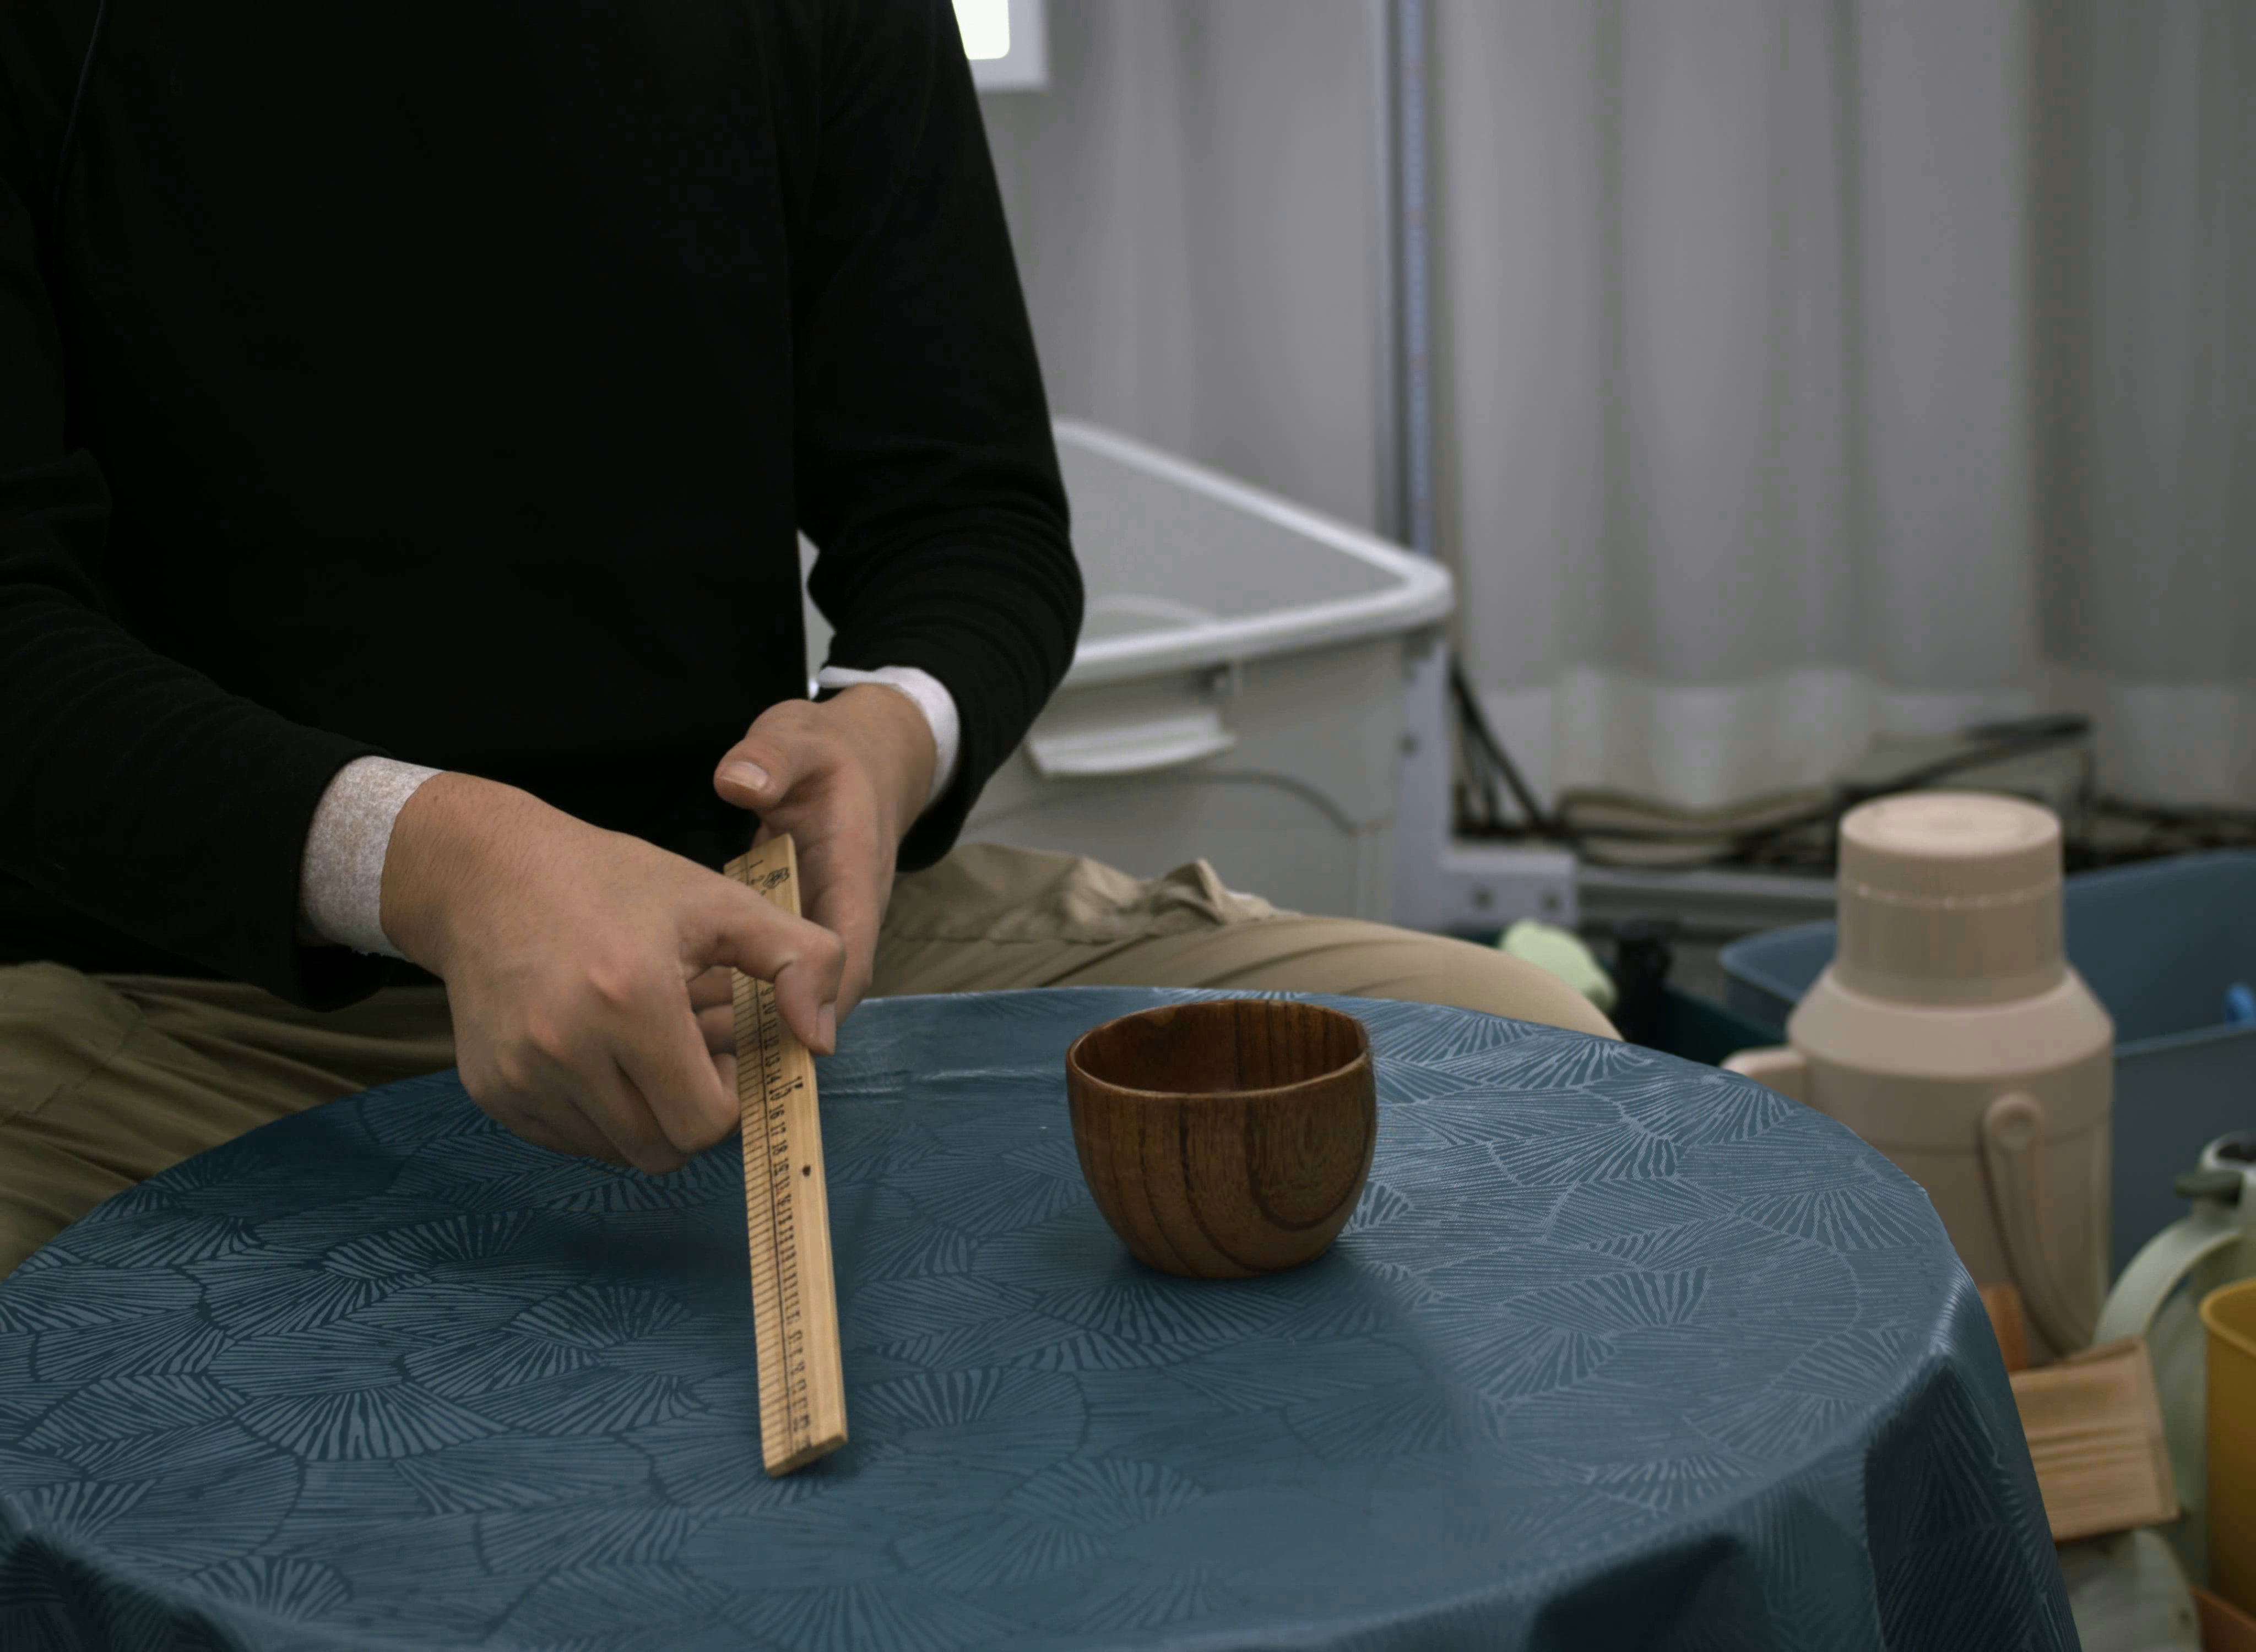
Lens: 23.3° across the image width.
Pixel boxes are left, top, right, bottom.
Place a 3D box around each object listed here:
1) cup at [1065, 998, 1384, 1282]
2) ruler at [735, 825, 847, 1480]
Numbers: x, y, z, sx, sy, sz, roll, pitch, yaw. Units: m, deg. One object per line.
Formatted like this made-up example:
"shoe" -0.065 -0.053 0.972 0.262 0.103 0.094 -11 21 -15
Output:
"cup" 0.026 0.094 1.662 0.096 0.067 0.120 -11 15 -23
"ruler" -0.104 0.087 1.635 0.027 0.022 0.336 -21 30 7
